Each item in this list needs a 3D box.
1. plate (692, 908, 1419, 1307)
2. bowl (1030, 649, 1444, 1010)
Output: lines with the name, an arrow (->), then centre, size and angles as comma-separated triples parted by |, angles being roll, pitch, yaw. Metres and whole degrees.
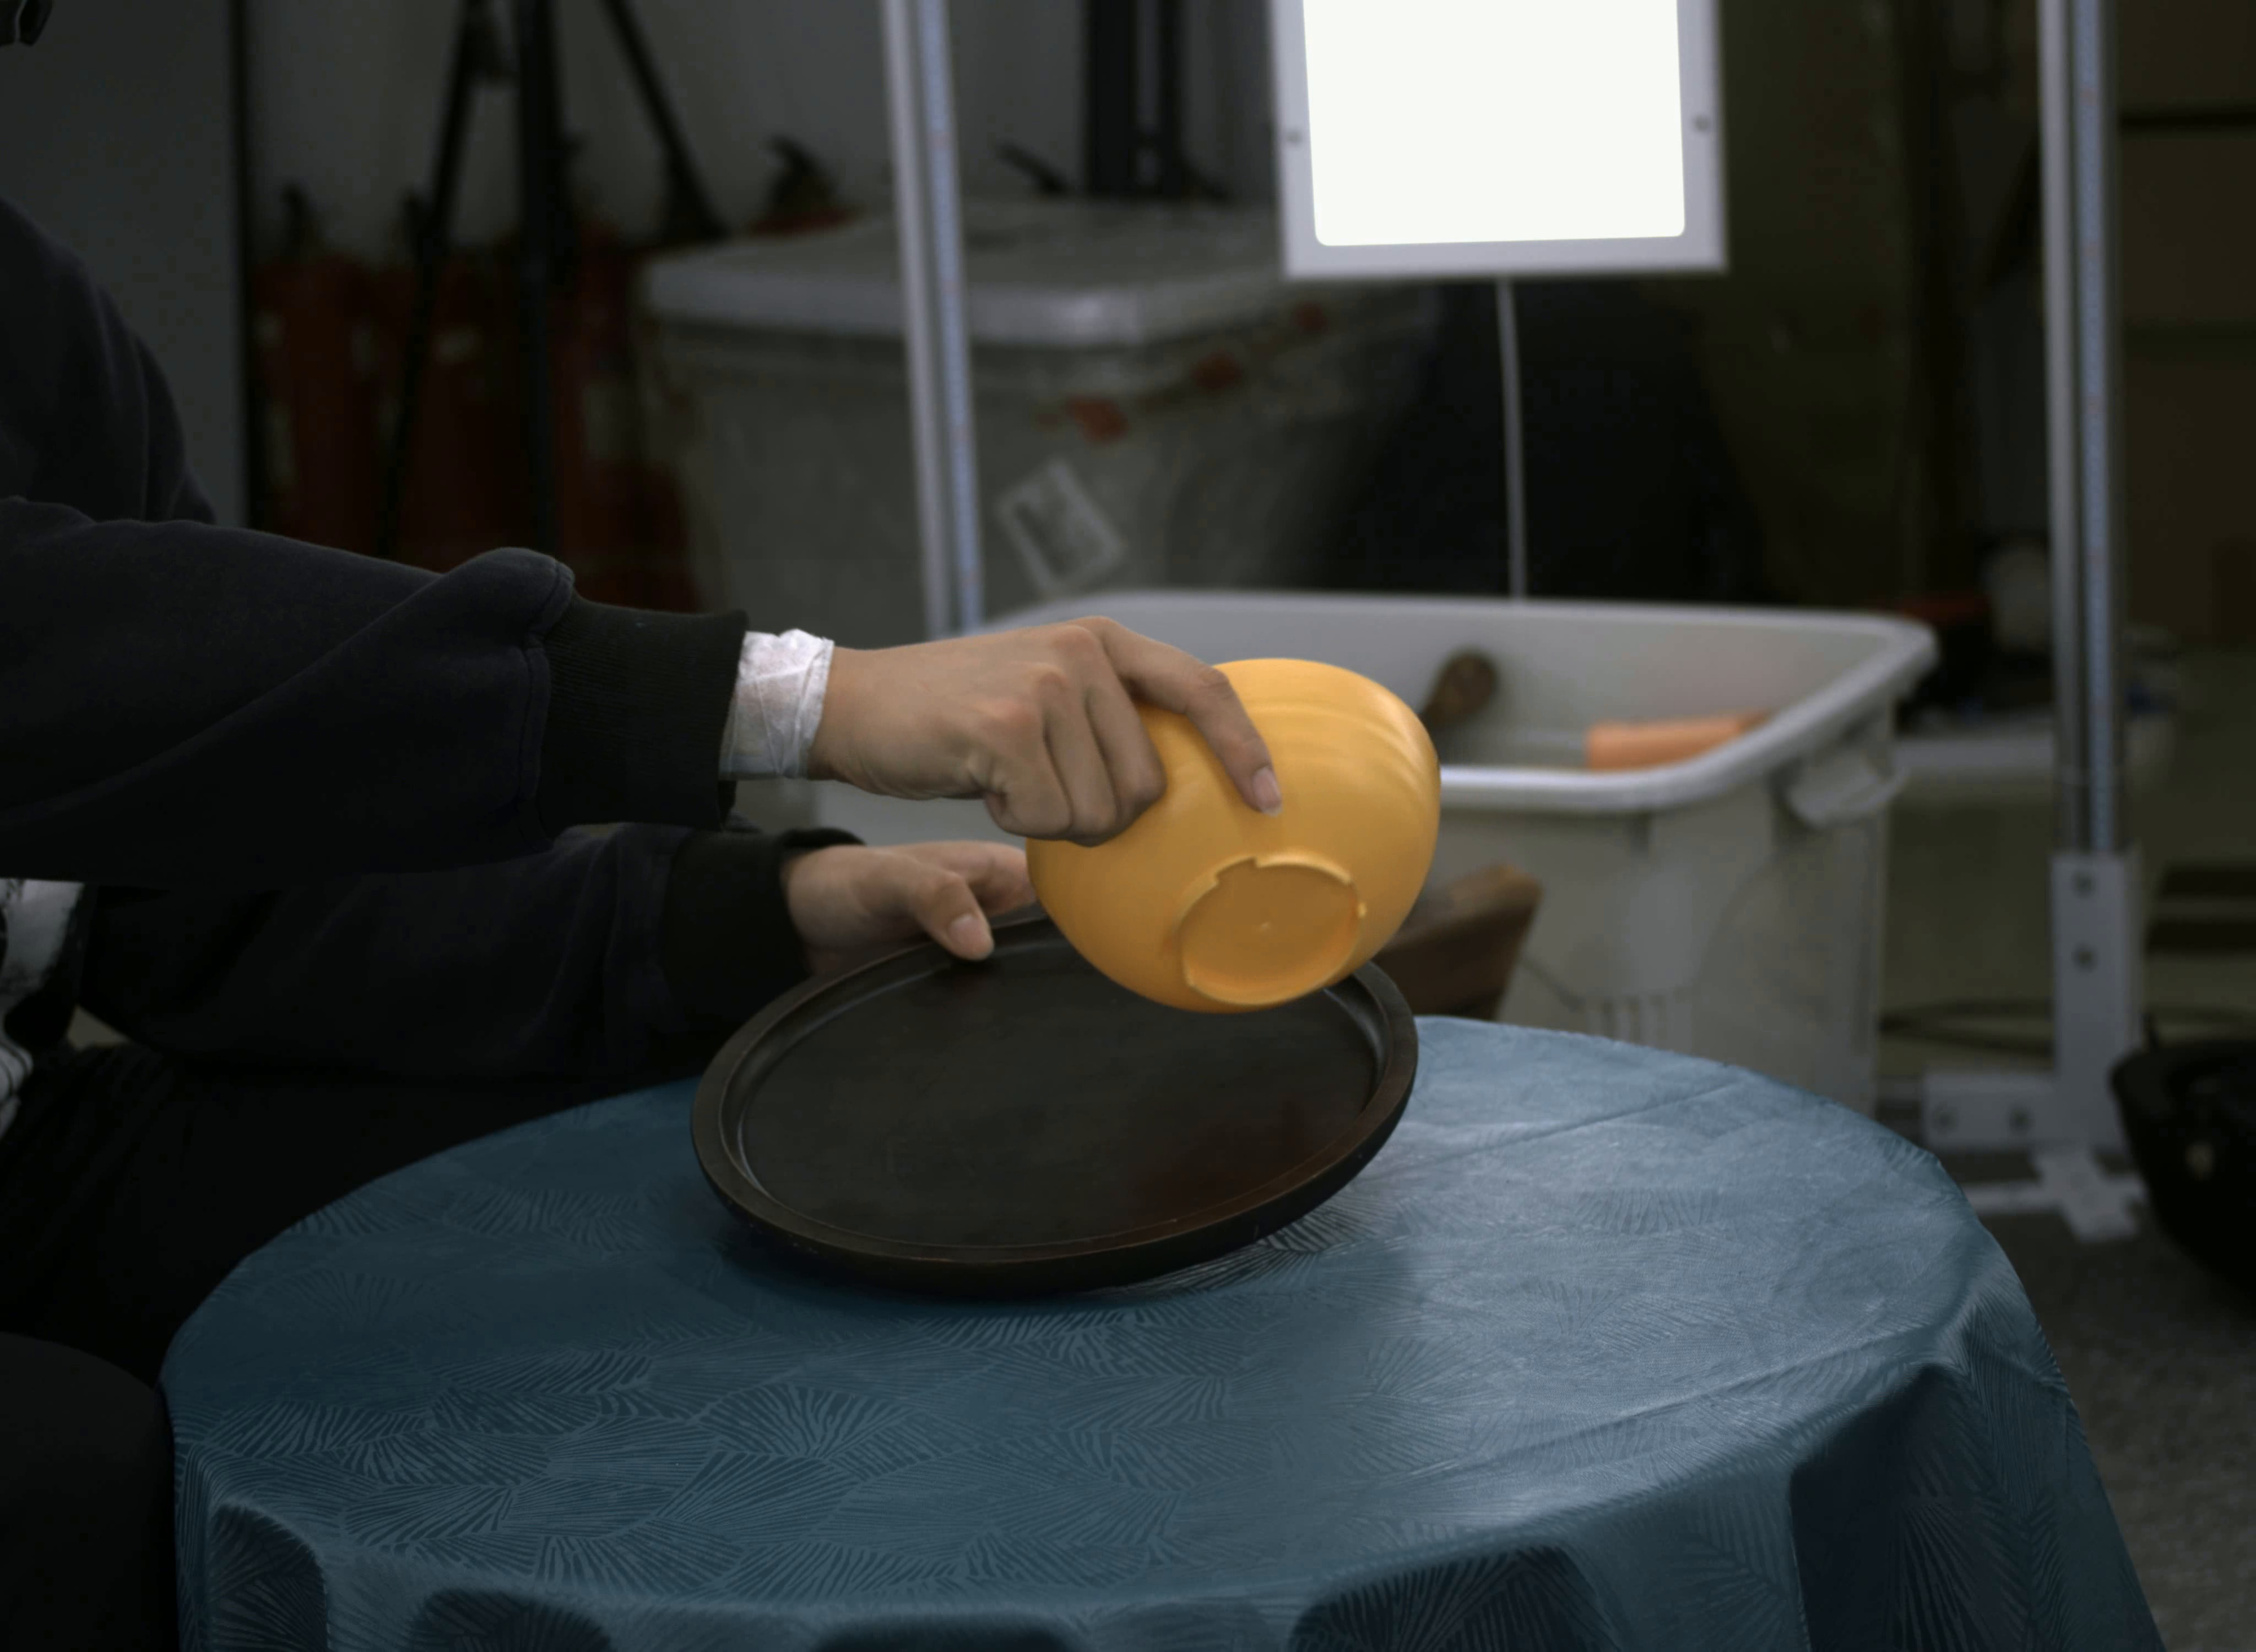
plate -> -0.024, 0.093, 1.895 | 0.255, 0.029, 0.254 | -9, 27, 3
bowl -> 0.043, 0.014, 1.846 | 0.144, 0.146, 0.060 | -6, 42, -9
